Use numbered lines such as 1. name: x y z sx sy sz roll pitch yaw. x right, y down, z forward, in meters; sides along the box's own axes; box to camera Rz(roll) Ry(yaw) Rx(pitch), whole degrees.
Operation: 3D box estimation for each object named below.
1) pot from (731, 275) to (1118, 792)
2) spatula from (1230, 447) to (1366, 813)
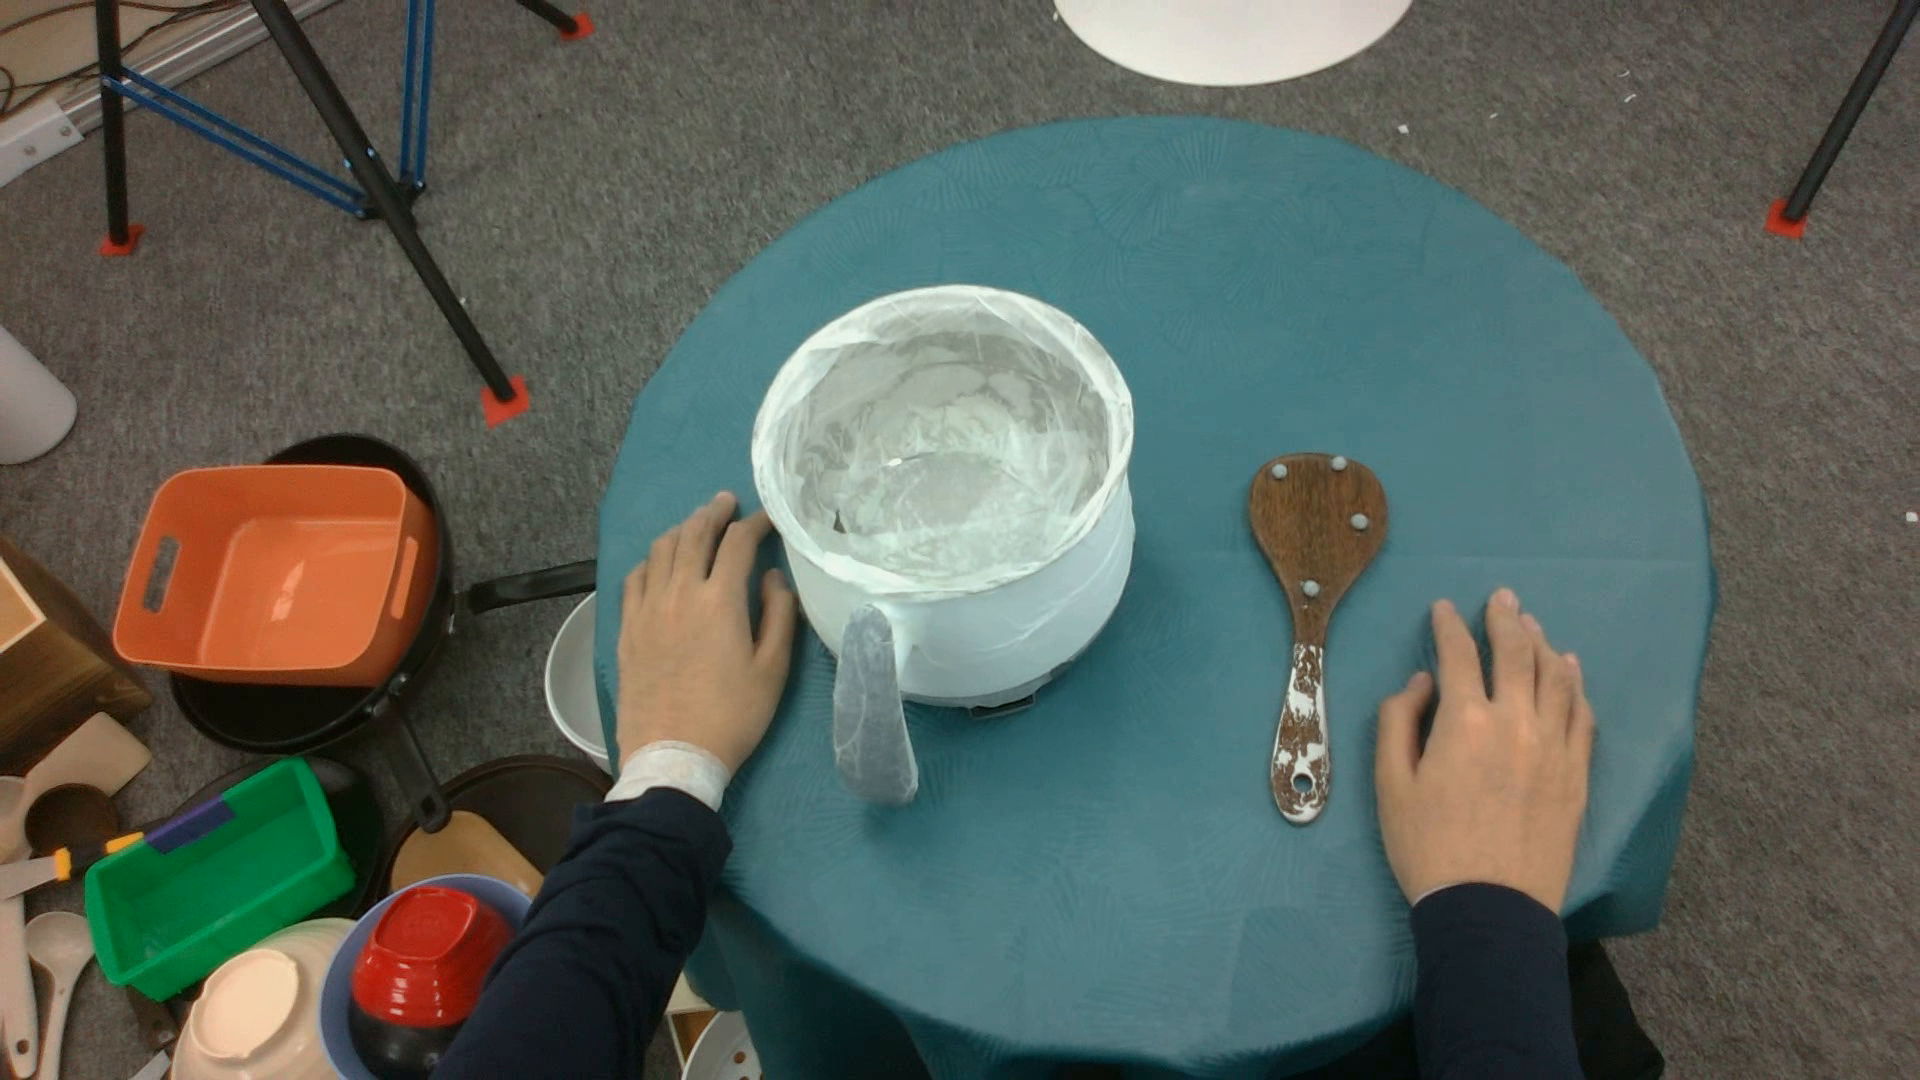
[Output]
1. pot: -0.018 -0.001 0.672 0.178 0.136 0.235 9 58 14
2. spatula: 0.169 0.038 0.709 0.072 0.009 0.216 6 59 11
